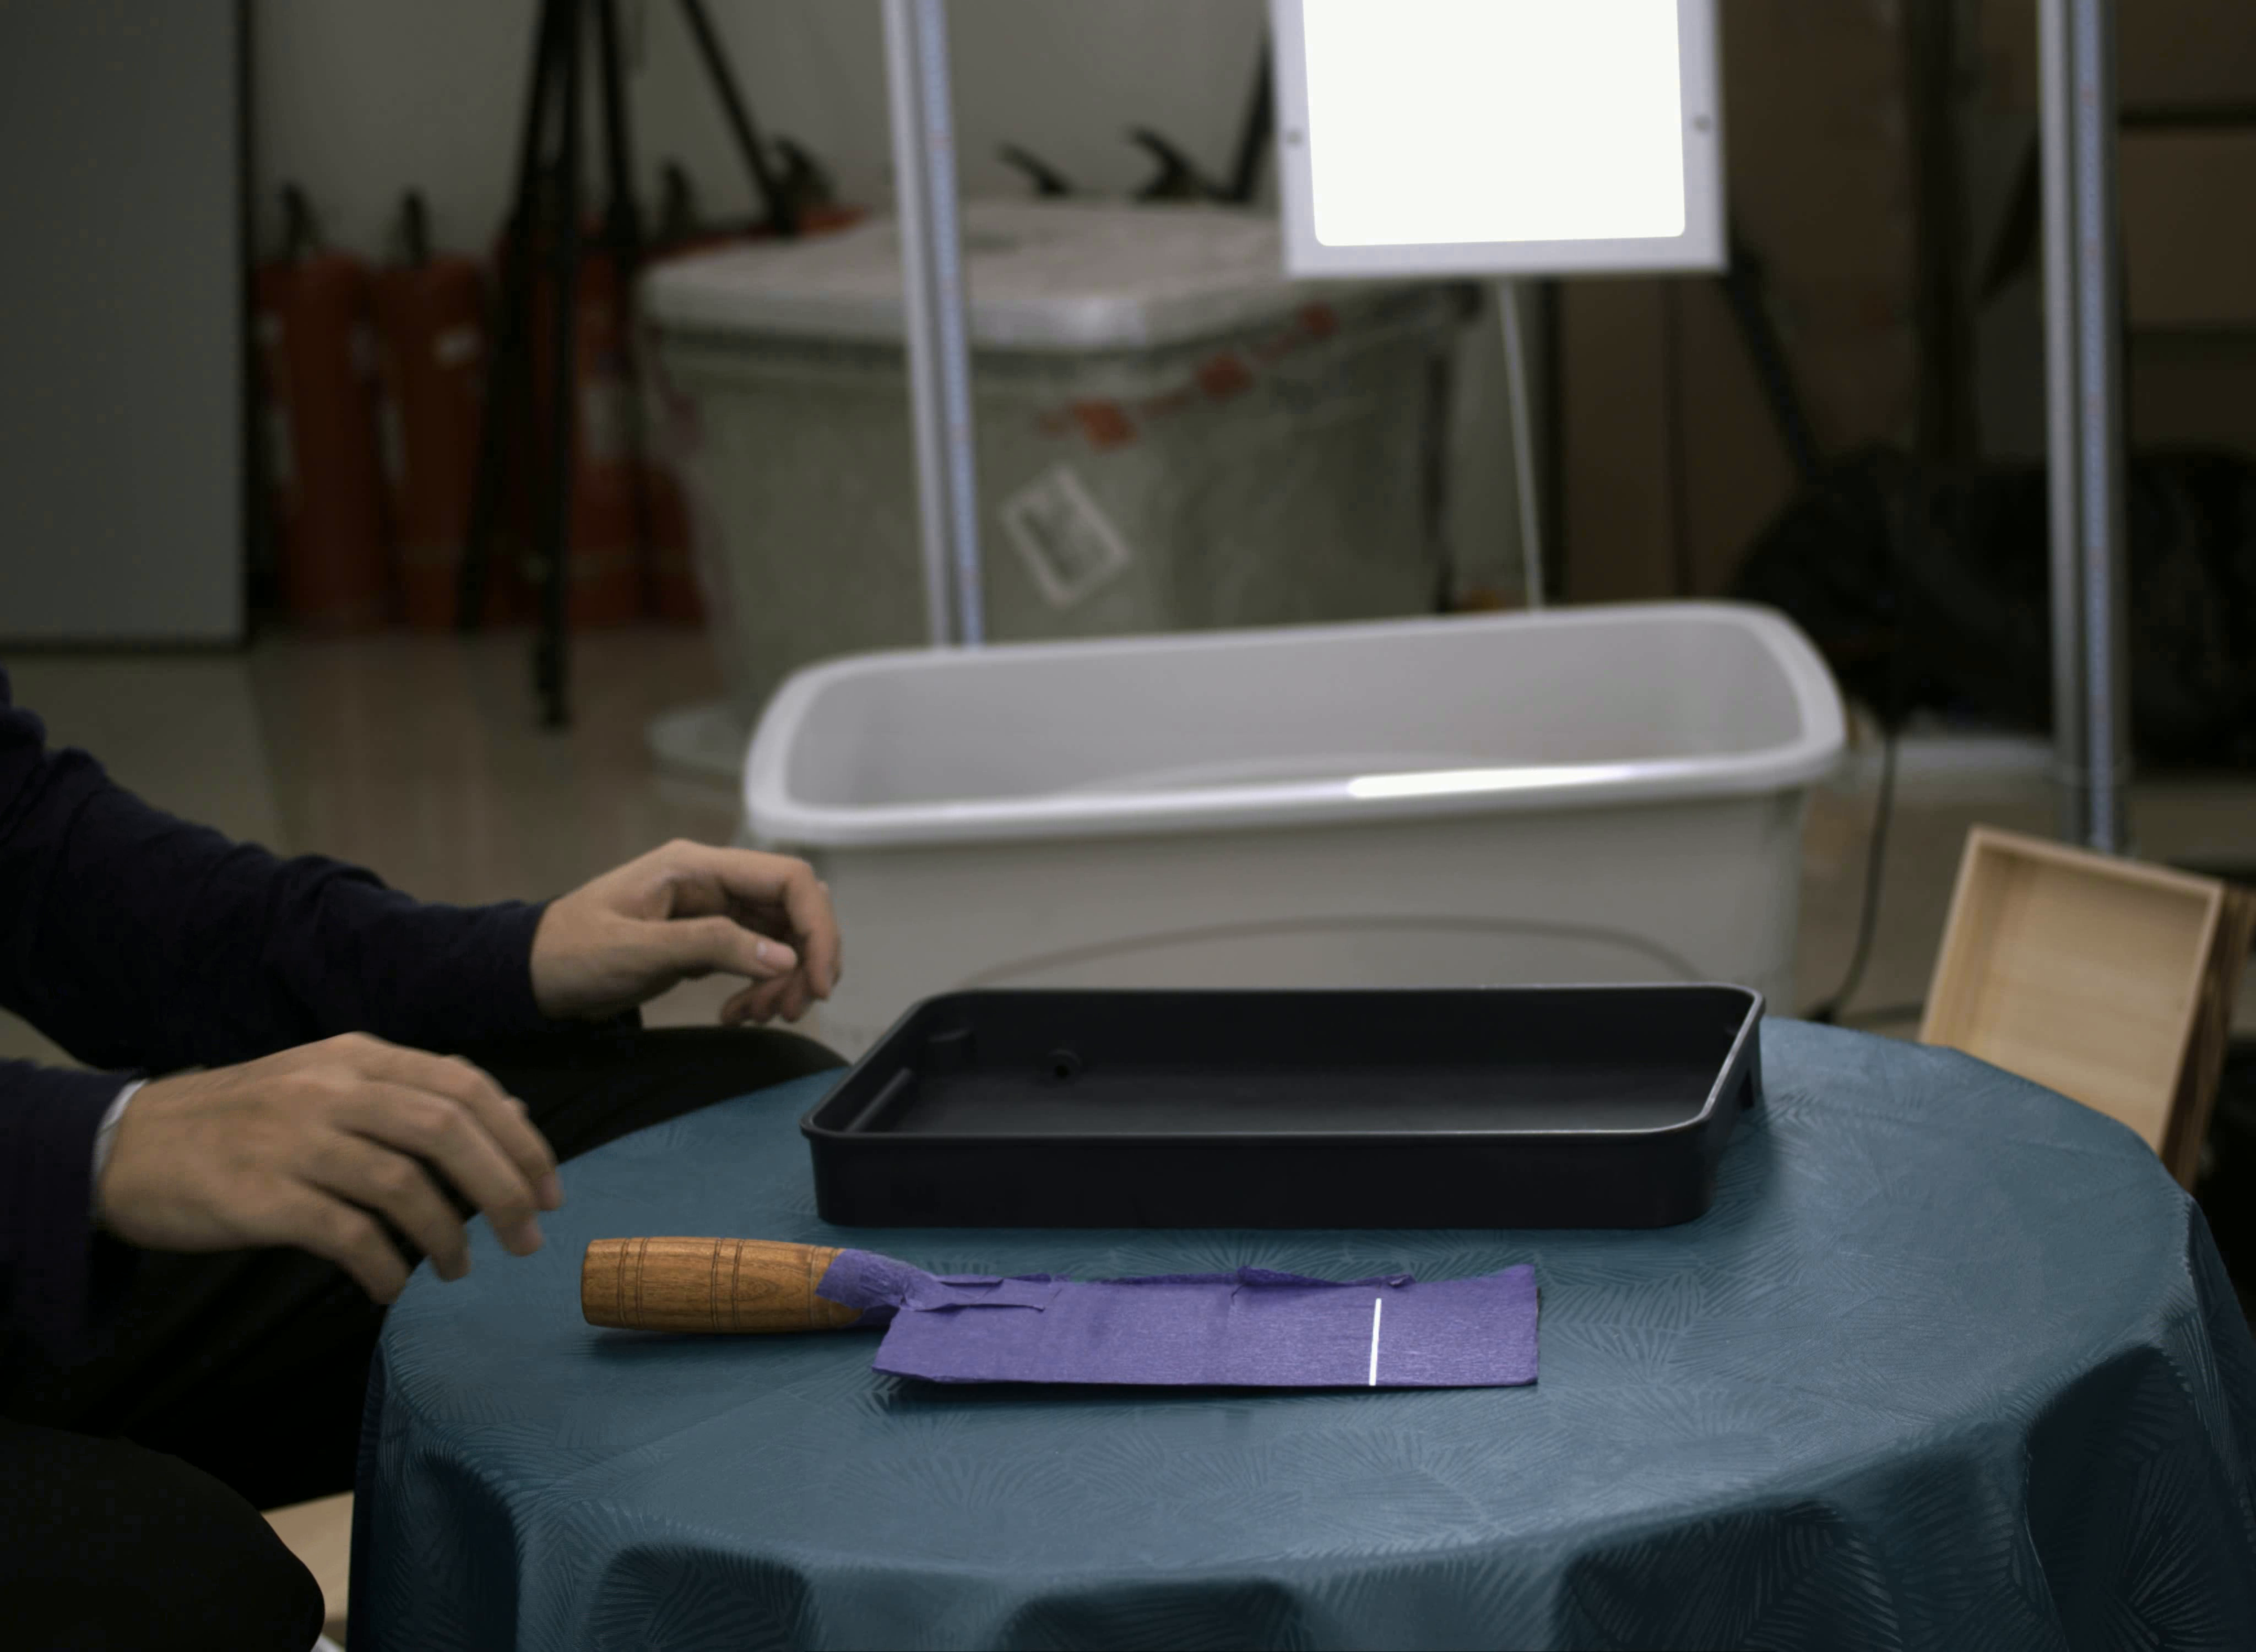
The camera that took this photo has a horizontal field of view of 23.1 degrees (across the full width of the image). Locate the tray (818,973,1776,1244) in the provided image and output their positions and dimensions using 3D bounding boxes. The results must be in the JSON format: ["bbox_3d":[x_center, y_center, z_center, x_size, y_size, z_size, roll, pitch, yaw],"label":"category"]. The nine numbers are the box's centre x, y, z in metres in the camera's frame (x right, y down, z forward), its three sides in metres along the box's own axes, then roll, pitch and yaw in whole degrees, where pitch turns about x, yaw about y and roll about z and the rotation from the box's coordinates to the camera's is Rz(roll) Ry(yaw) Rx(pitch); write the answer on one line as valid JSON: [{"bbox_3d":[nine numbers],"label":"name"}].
[{"bbox_3d":[0.063,0.098,1.929,0.321,0.037,0.182,-3,14,16],"label":"tray"}]

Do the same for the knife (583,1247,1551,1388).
[{"bbox_3d":[-0.023,0.154,1.741,0.317,0.032,0.103,-3,14,9],"label":"knife"}]
